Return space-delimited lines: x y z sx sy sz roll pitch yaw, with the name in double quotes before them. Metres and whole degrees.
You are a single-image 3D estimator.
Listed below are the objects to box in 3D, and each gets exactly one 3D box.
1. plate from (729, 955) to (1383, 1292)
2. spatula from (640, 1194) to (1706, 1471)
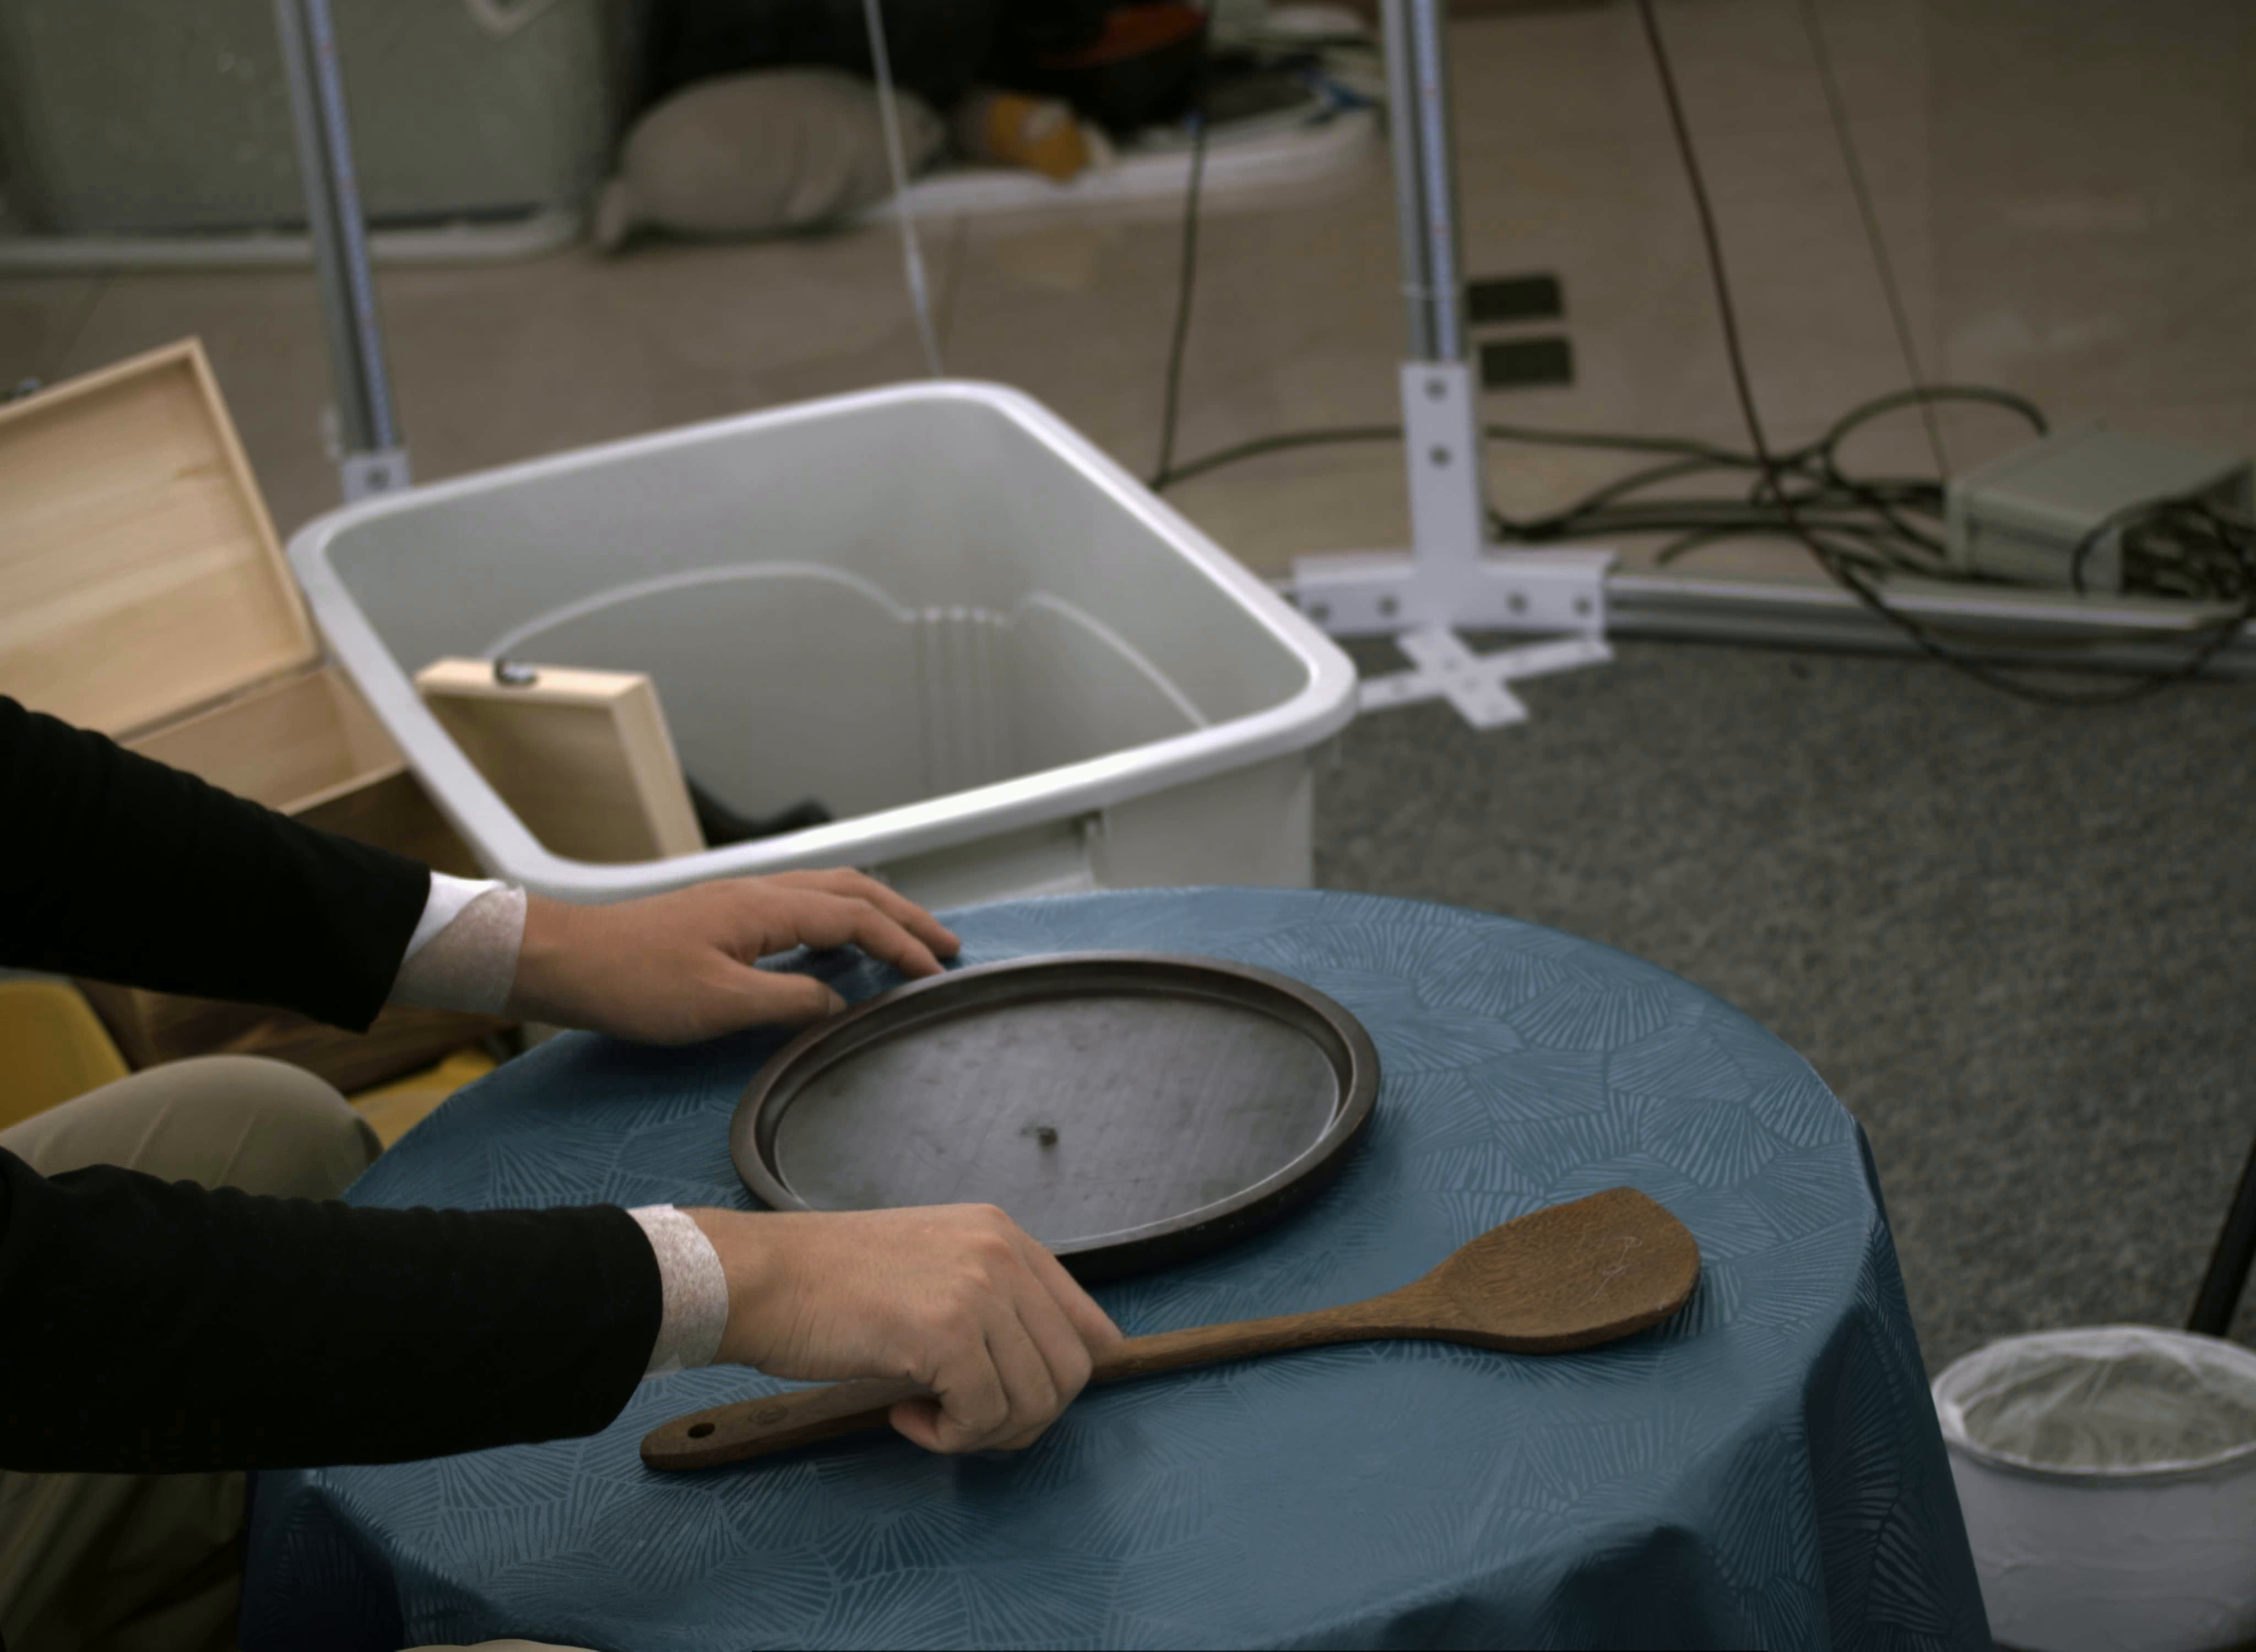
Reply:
"plate" -0.027 0.112 2.183 0.254 0.029 0.251 -5 26 3
"spatula" 0.016 0.186 2.023 0.385 0.016 0.095 -10 25 -7
